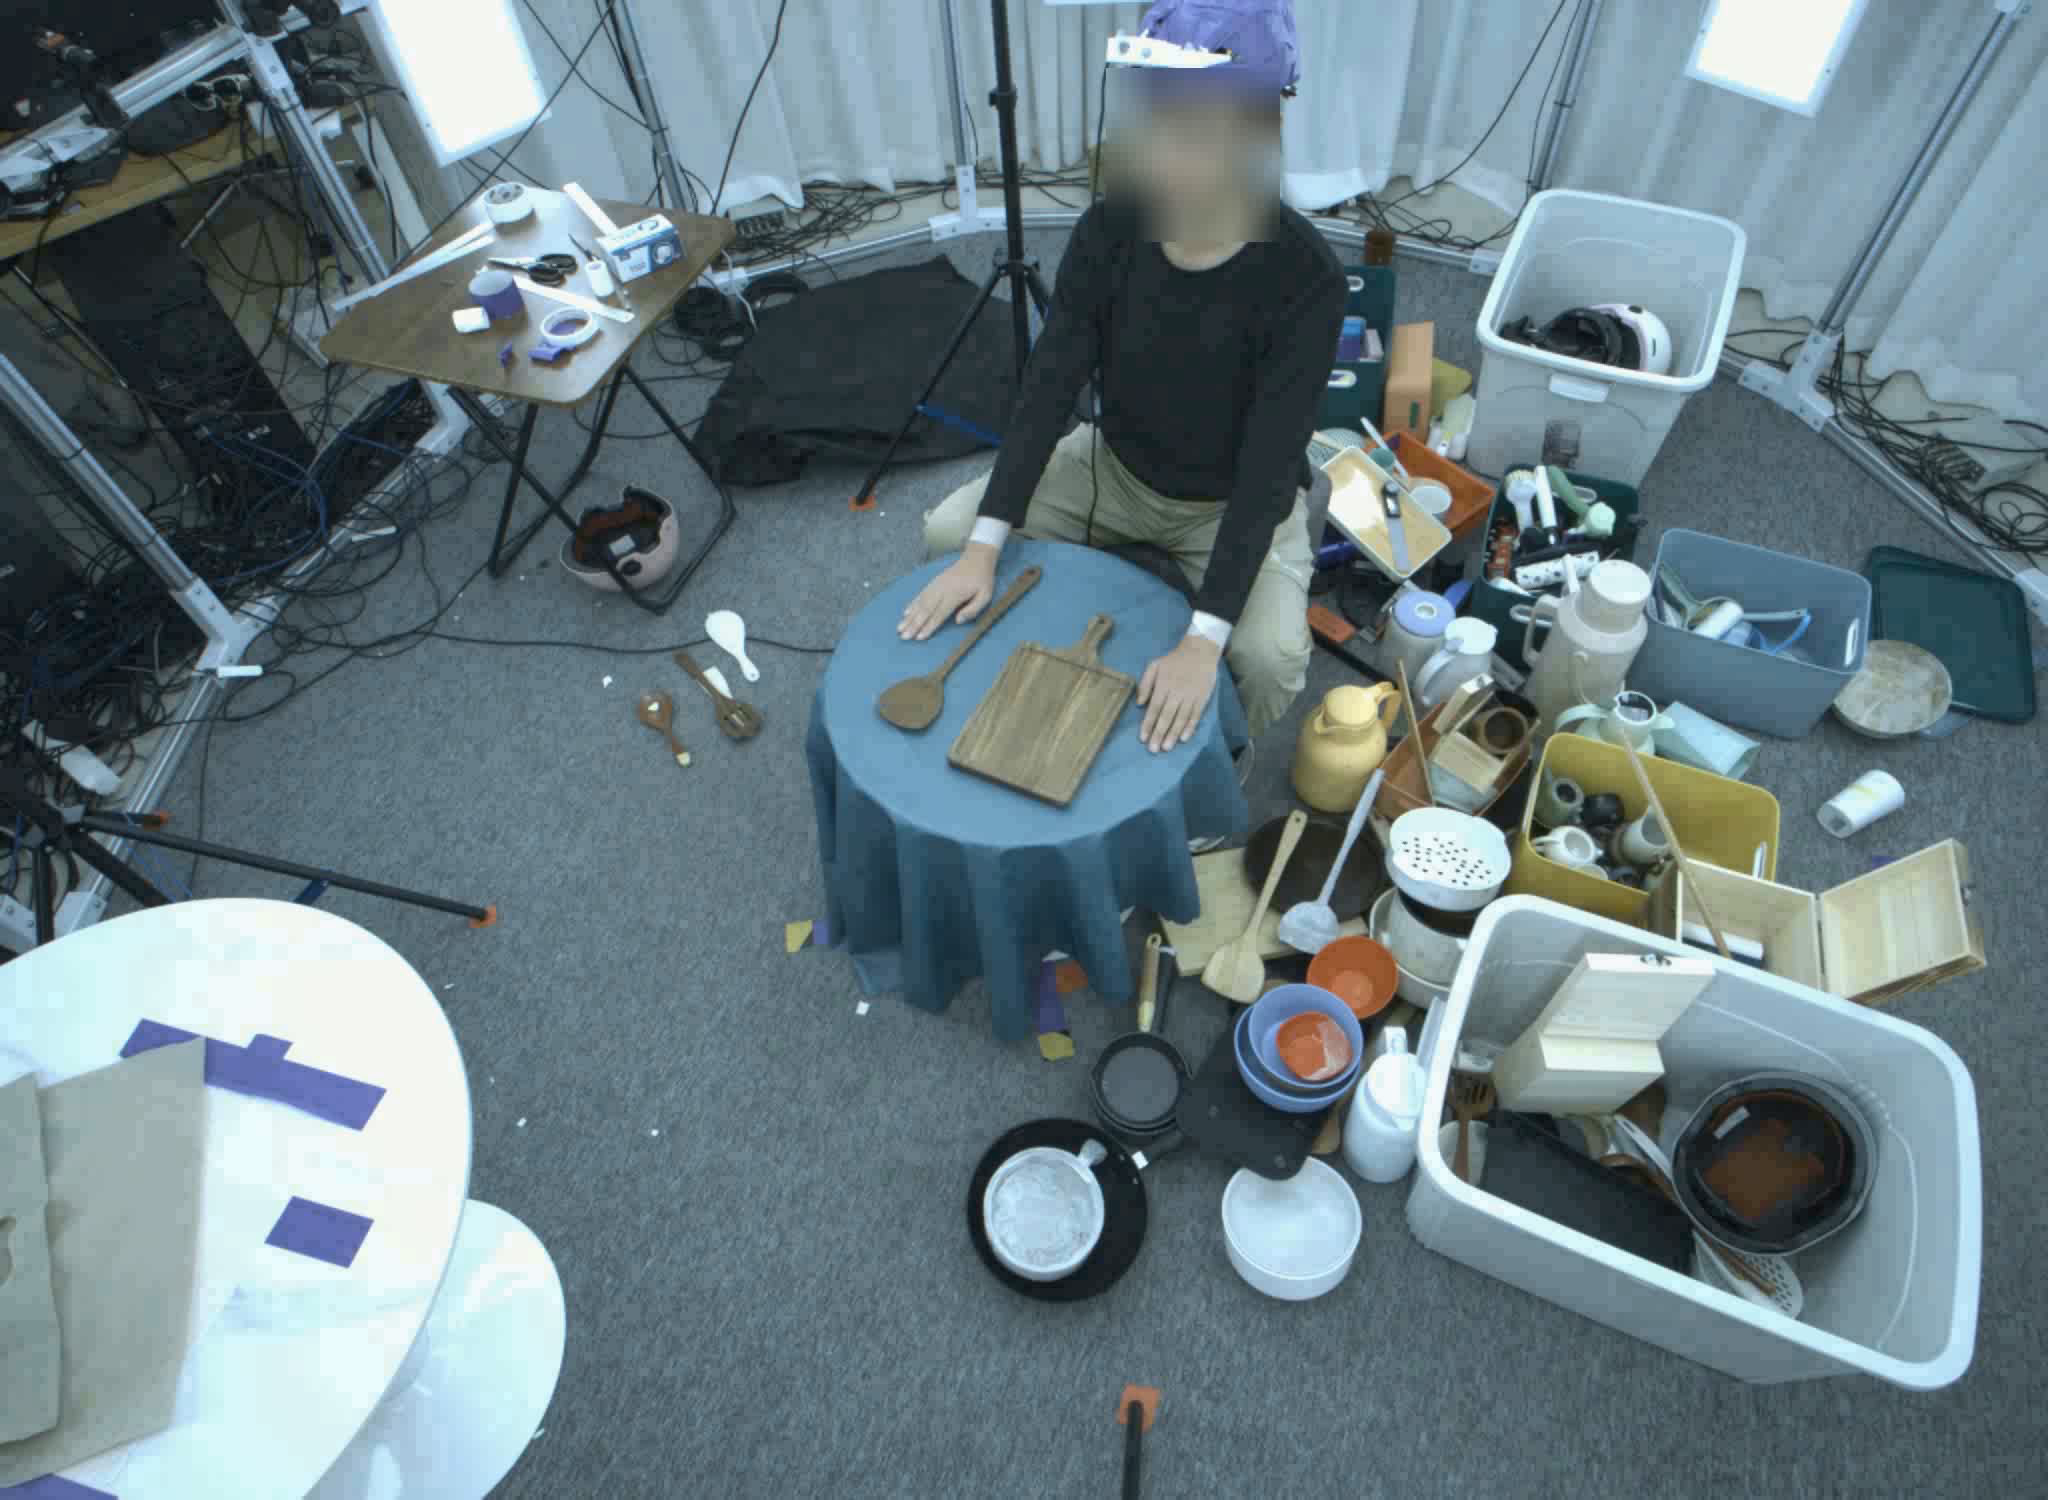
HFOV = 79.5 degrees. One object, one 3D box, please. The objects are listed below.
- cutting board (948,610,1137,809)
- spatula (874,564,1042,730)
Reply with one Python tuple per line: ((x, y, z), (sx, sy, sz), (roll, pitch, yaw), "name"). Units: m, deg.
((0.051, -0.080, 1.830), (0.198, 0.023, 0.352), (21, 58, 16), "cutting board")
((-0.086, -0.171, 1.903), (0.094, 0.016, 0.387), (29, 60, 20), "spatula")
